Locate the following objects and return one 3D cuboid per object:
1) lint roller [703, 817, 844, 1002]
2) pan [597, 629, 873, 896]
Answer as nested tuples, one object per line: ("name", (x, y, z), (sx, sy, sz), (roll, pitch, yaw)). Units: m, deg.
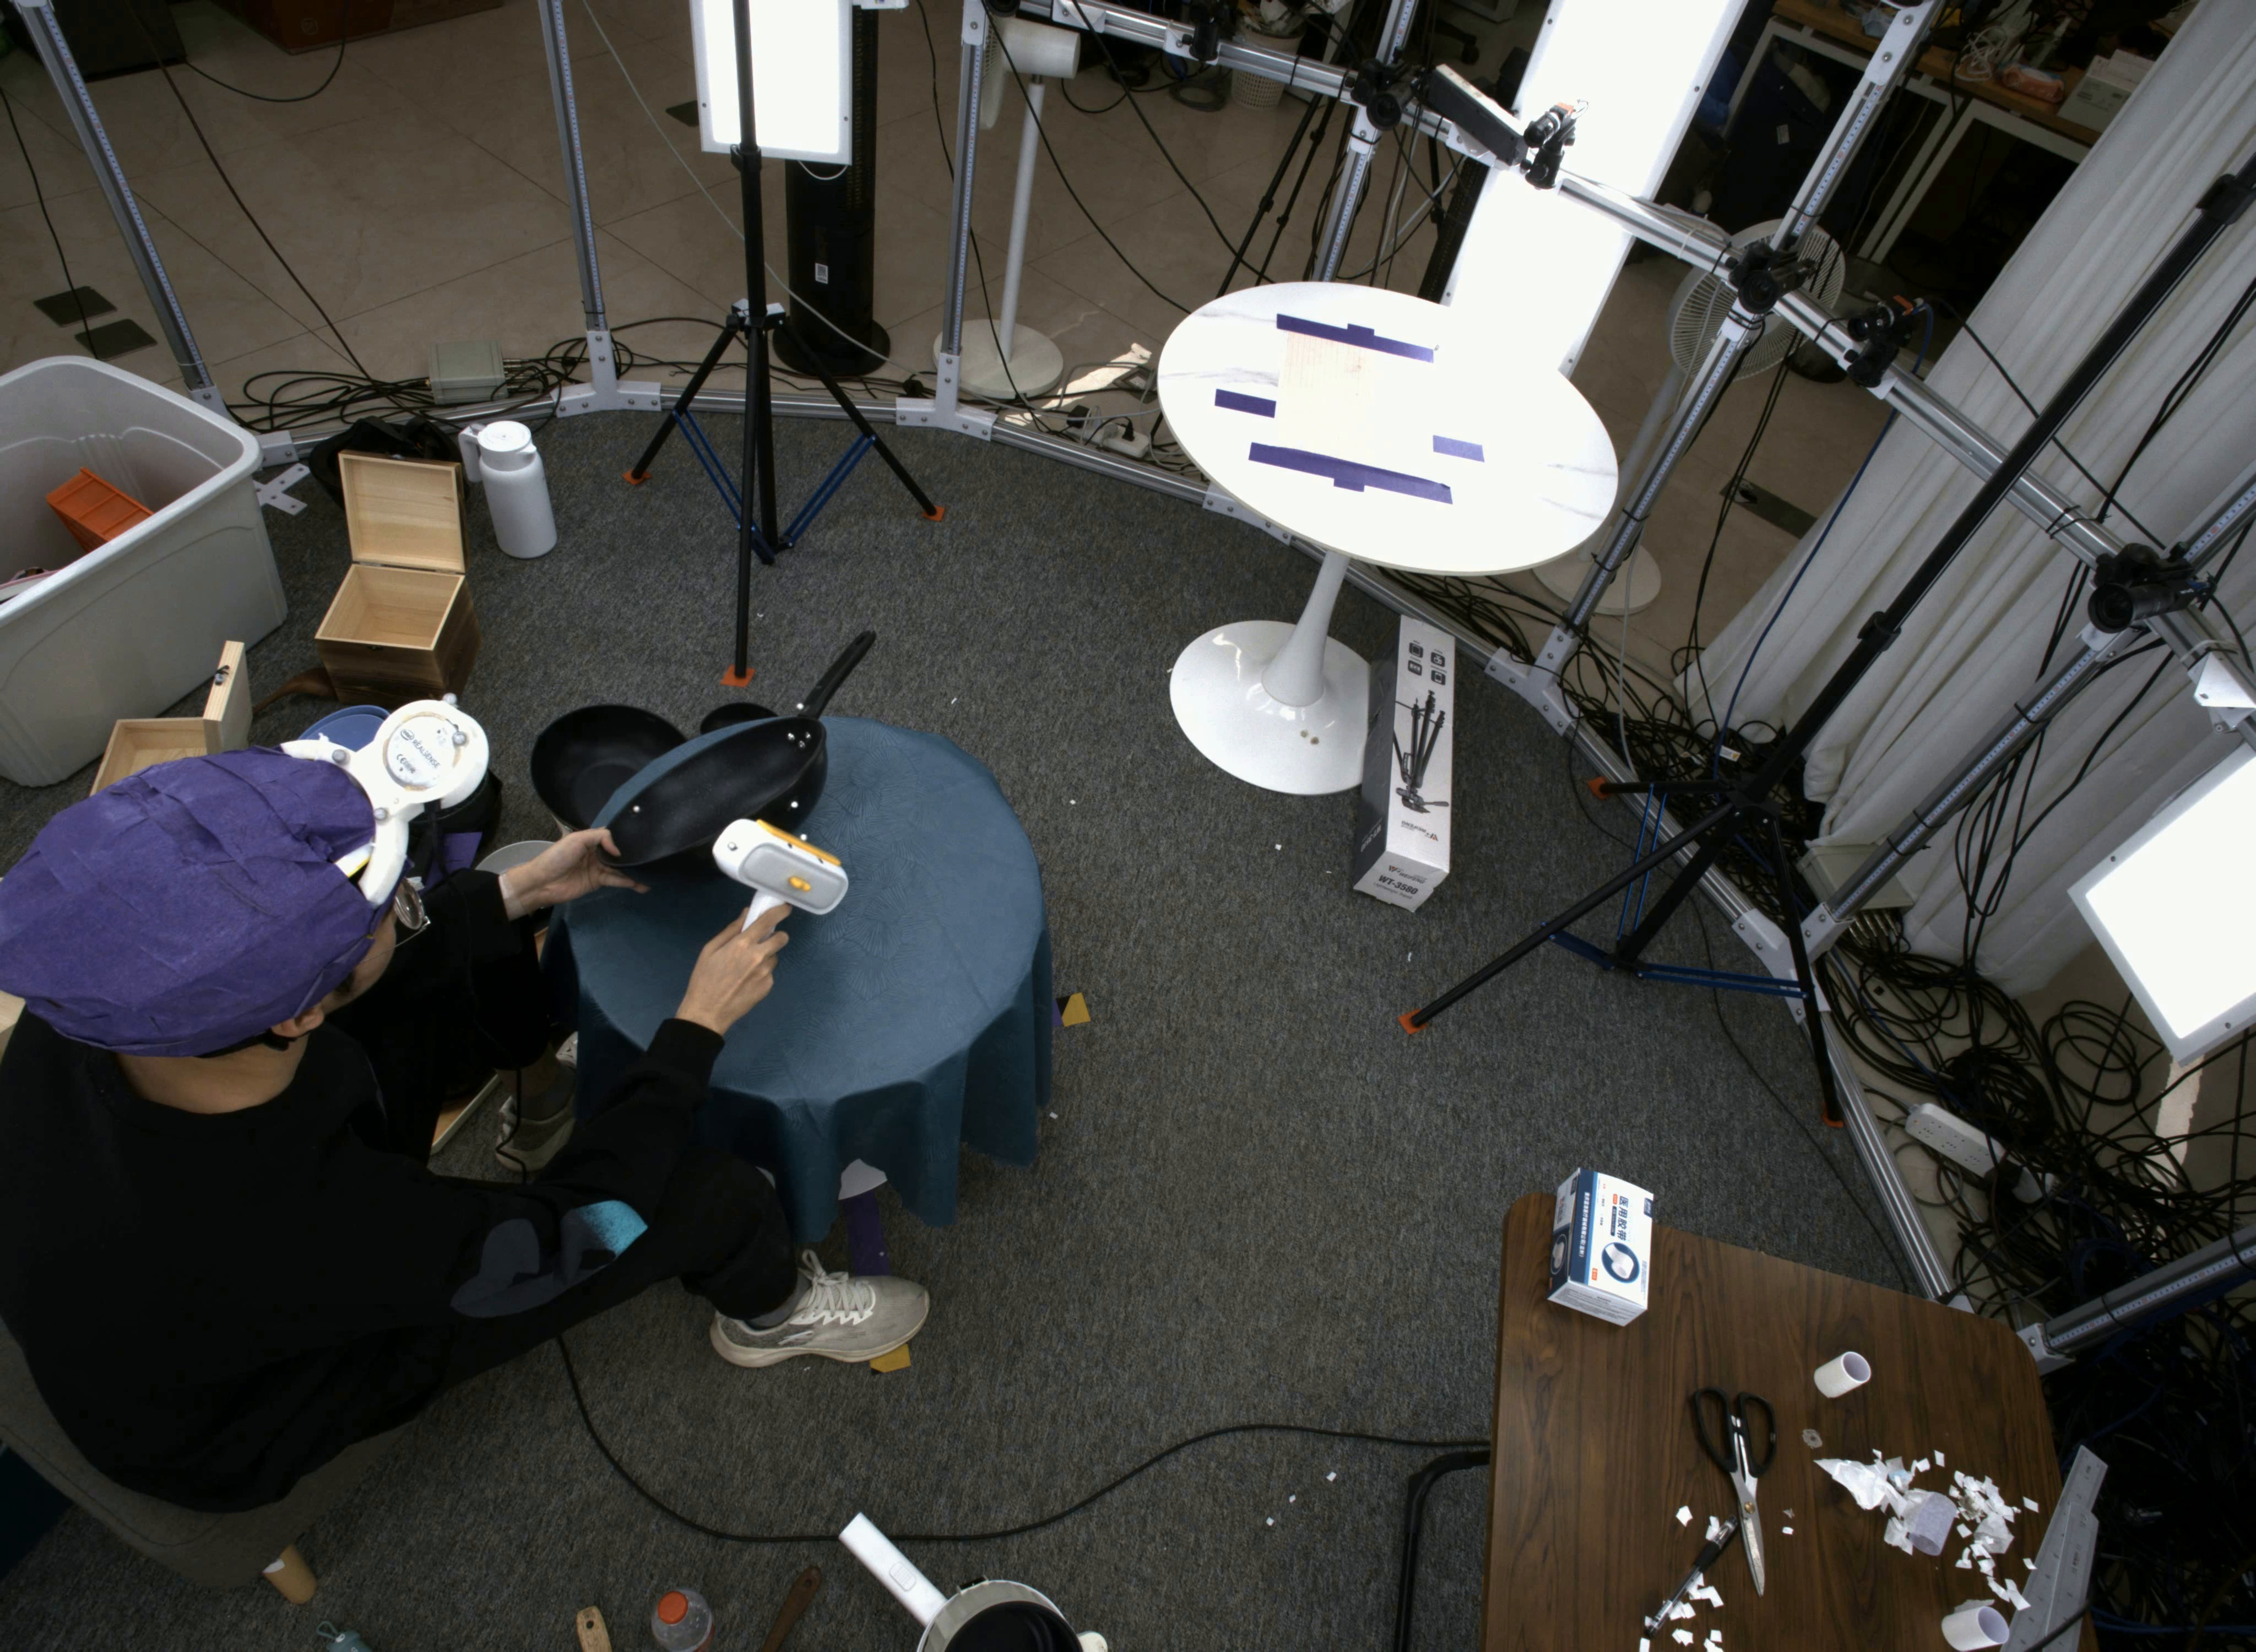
("lint roller", (-0.419, 0.100, 1.469), (0.072, 0.198, 0.193), (26, 88, 26))
("pan", (-0.452, -0.072, 1.613), (0.299, 0.116, 0.475), (3, 40, 39))
